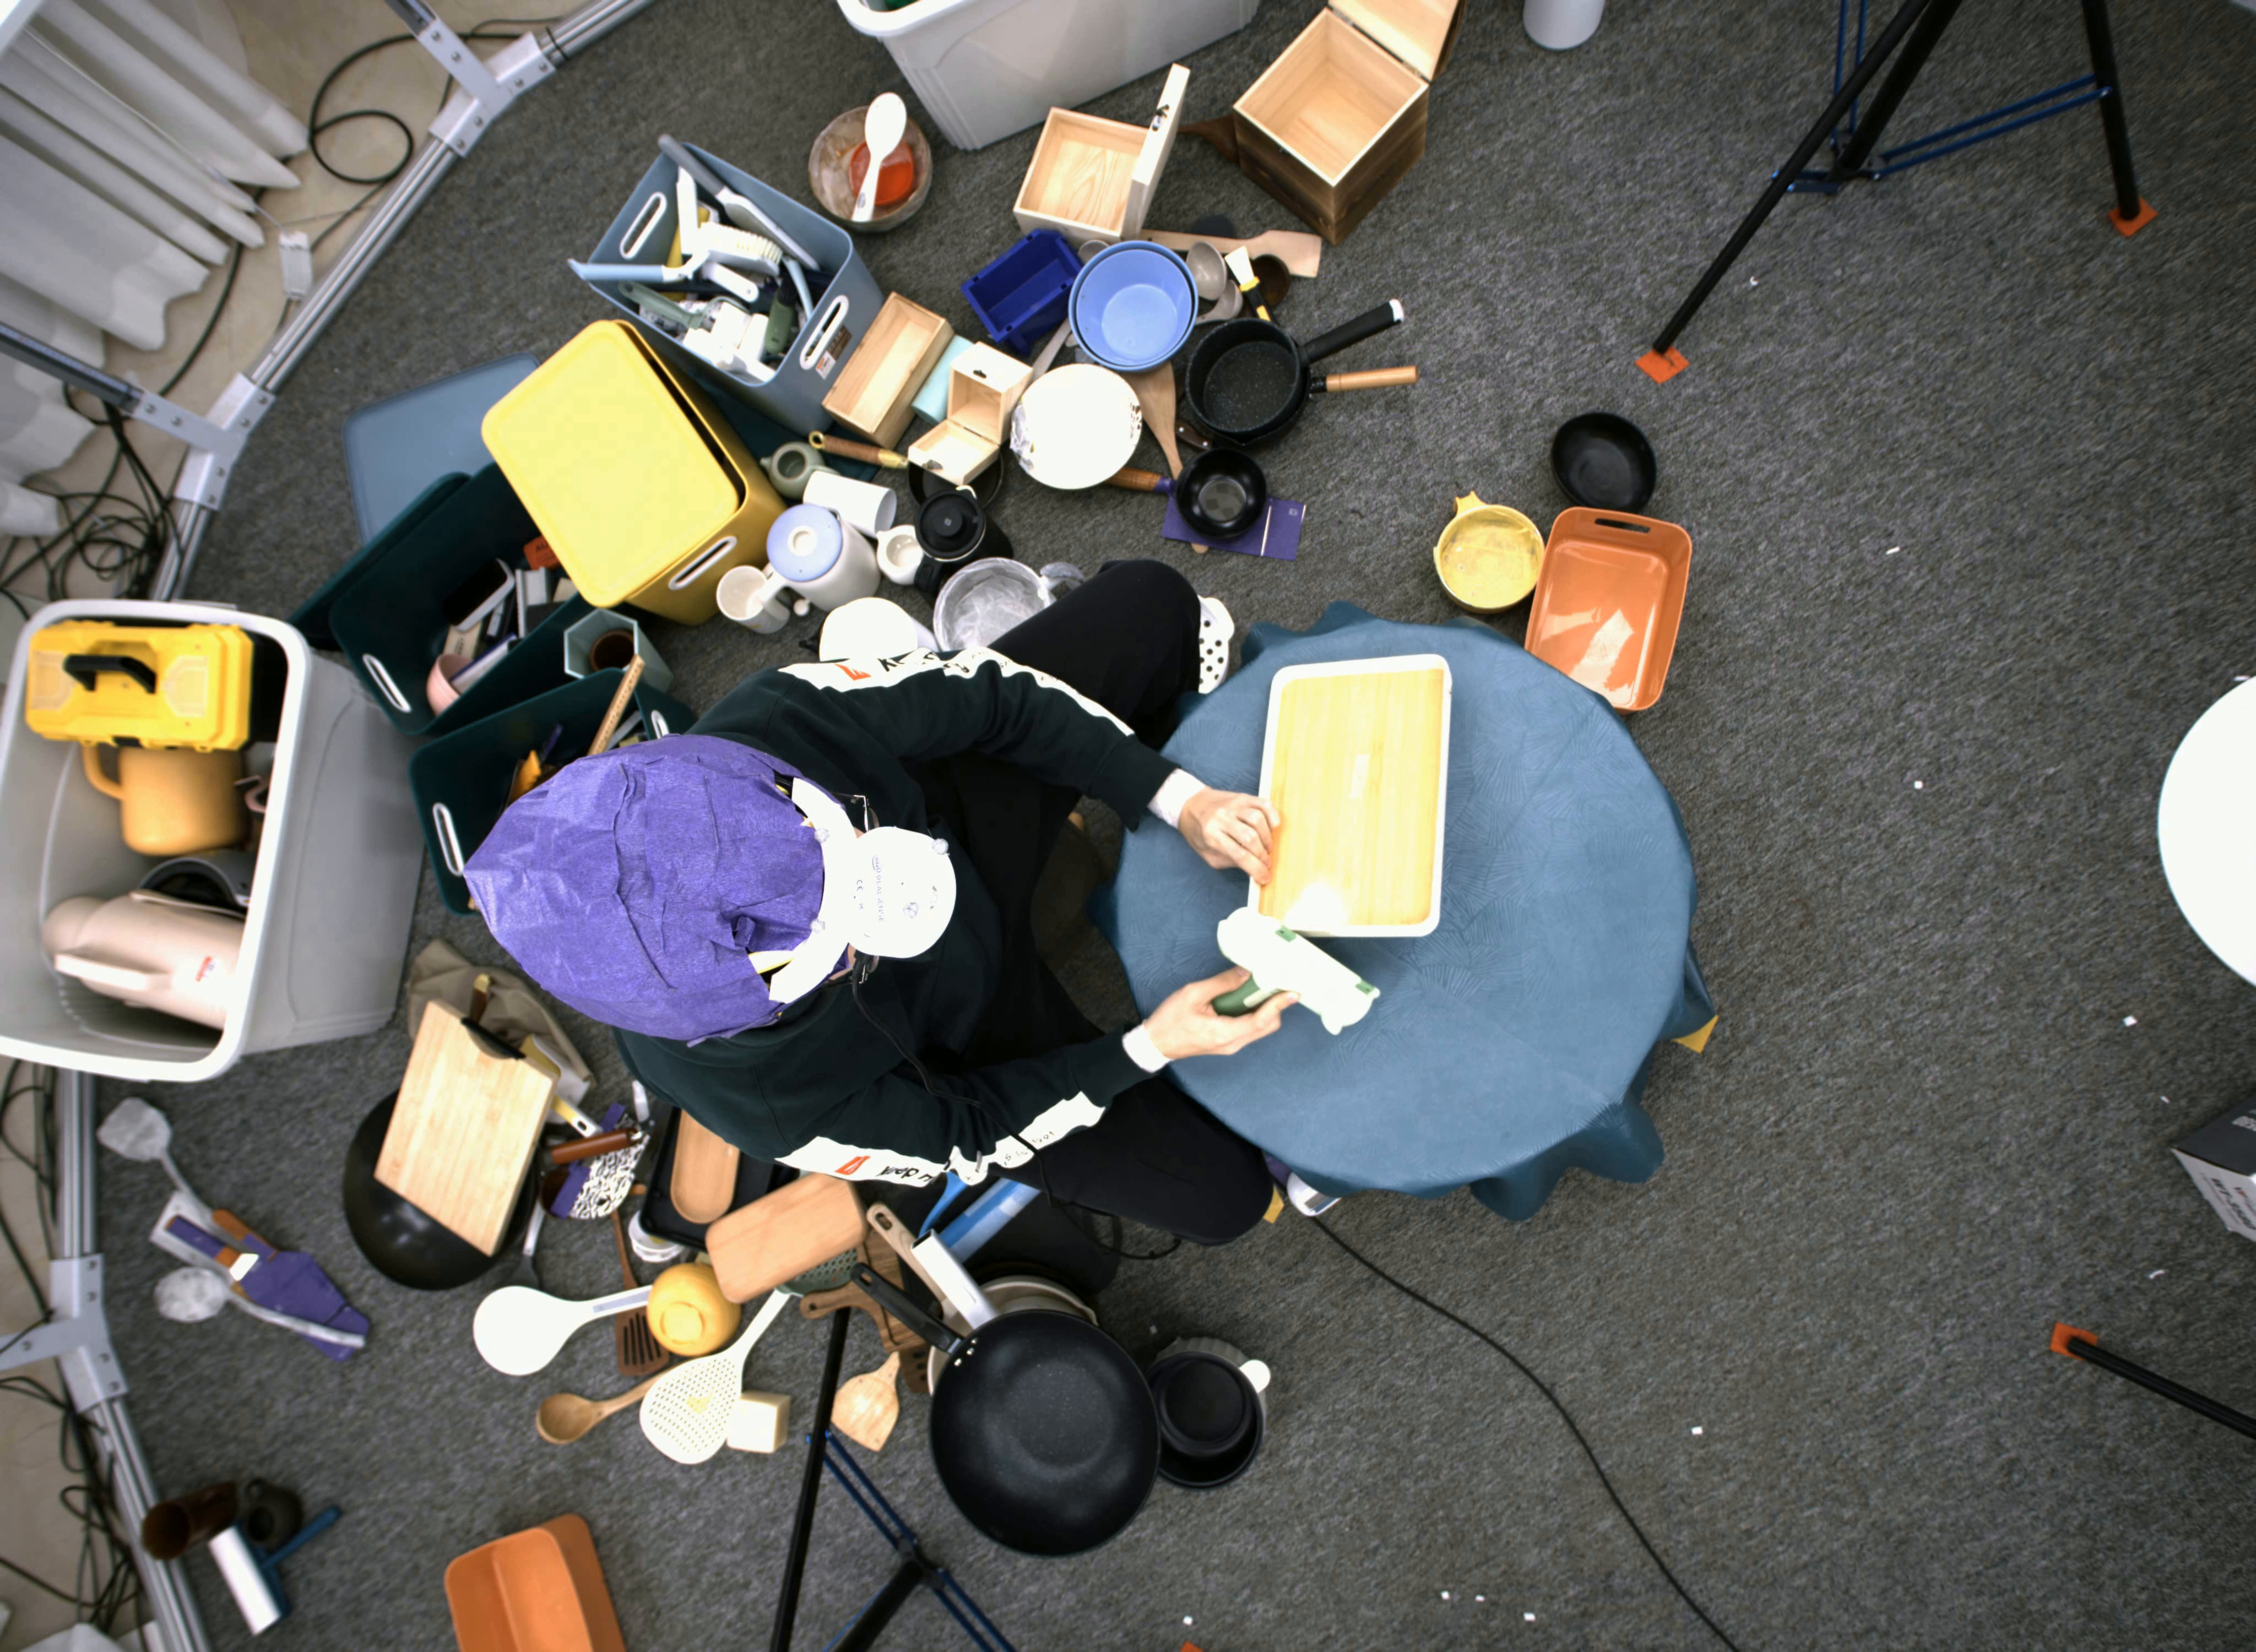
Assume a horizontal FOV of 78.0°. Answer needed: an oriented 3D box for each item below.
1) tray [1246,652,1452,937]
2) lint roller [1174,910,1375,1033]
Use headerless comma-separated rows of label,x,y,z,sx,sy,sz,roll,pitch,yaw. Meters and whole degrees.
tray,0.225,-0.034,1.392,0.193,0.028,0.295,-2,68,26
lint roller,0.124,0.174,1.377,0.186,0.200,0.080,-37,45,23
